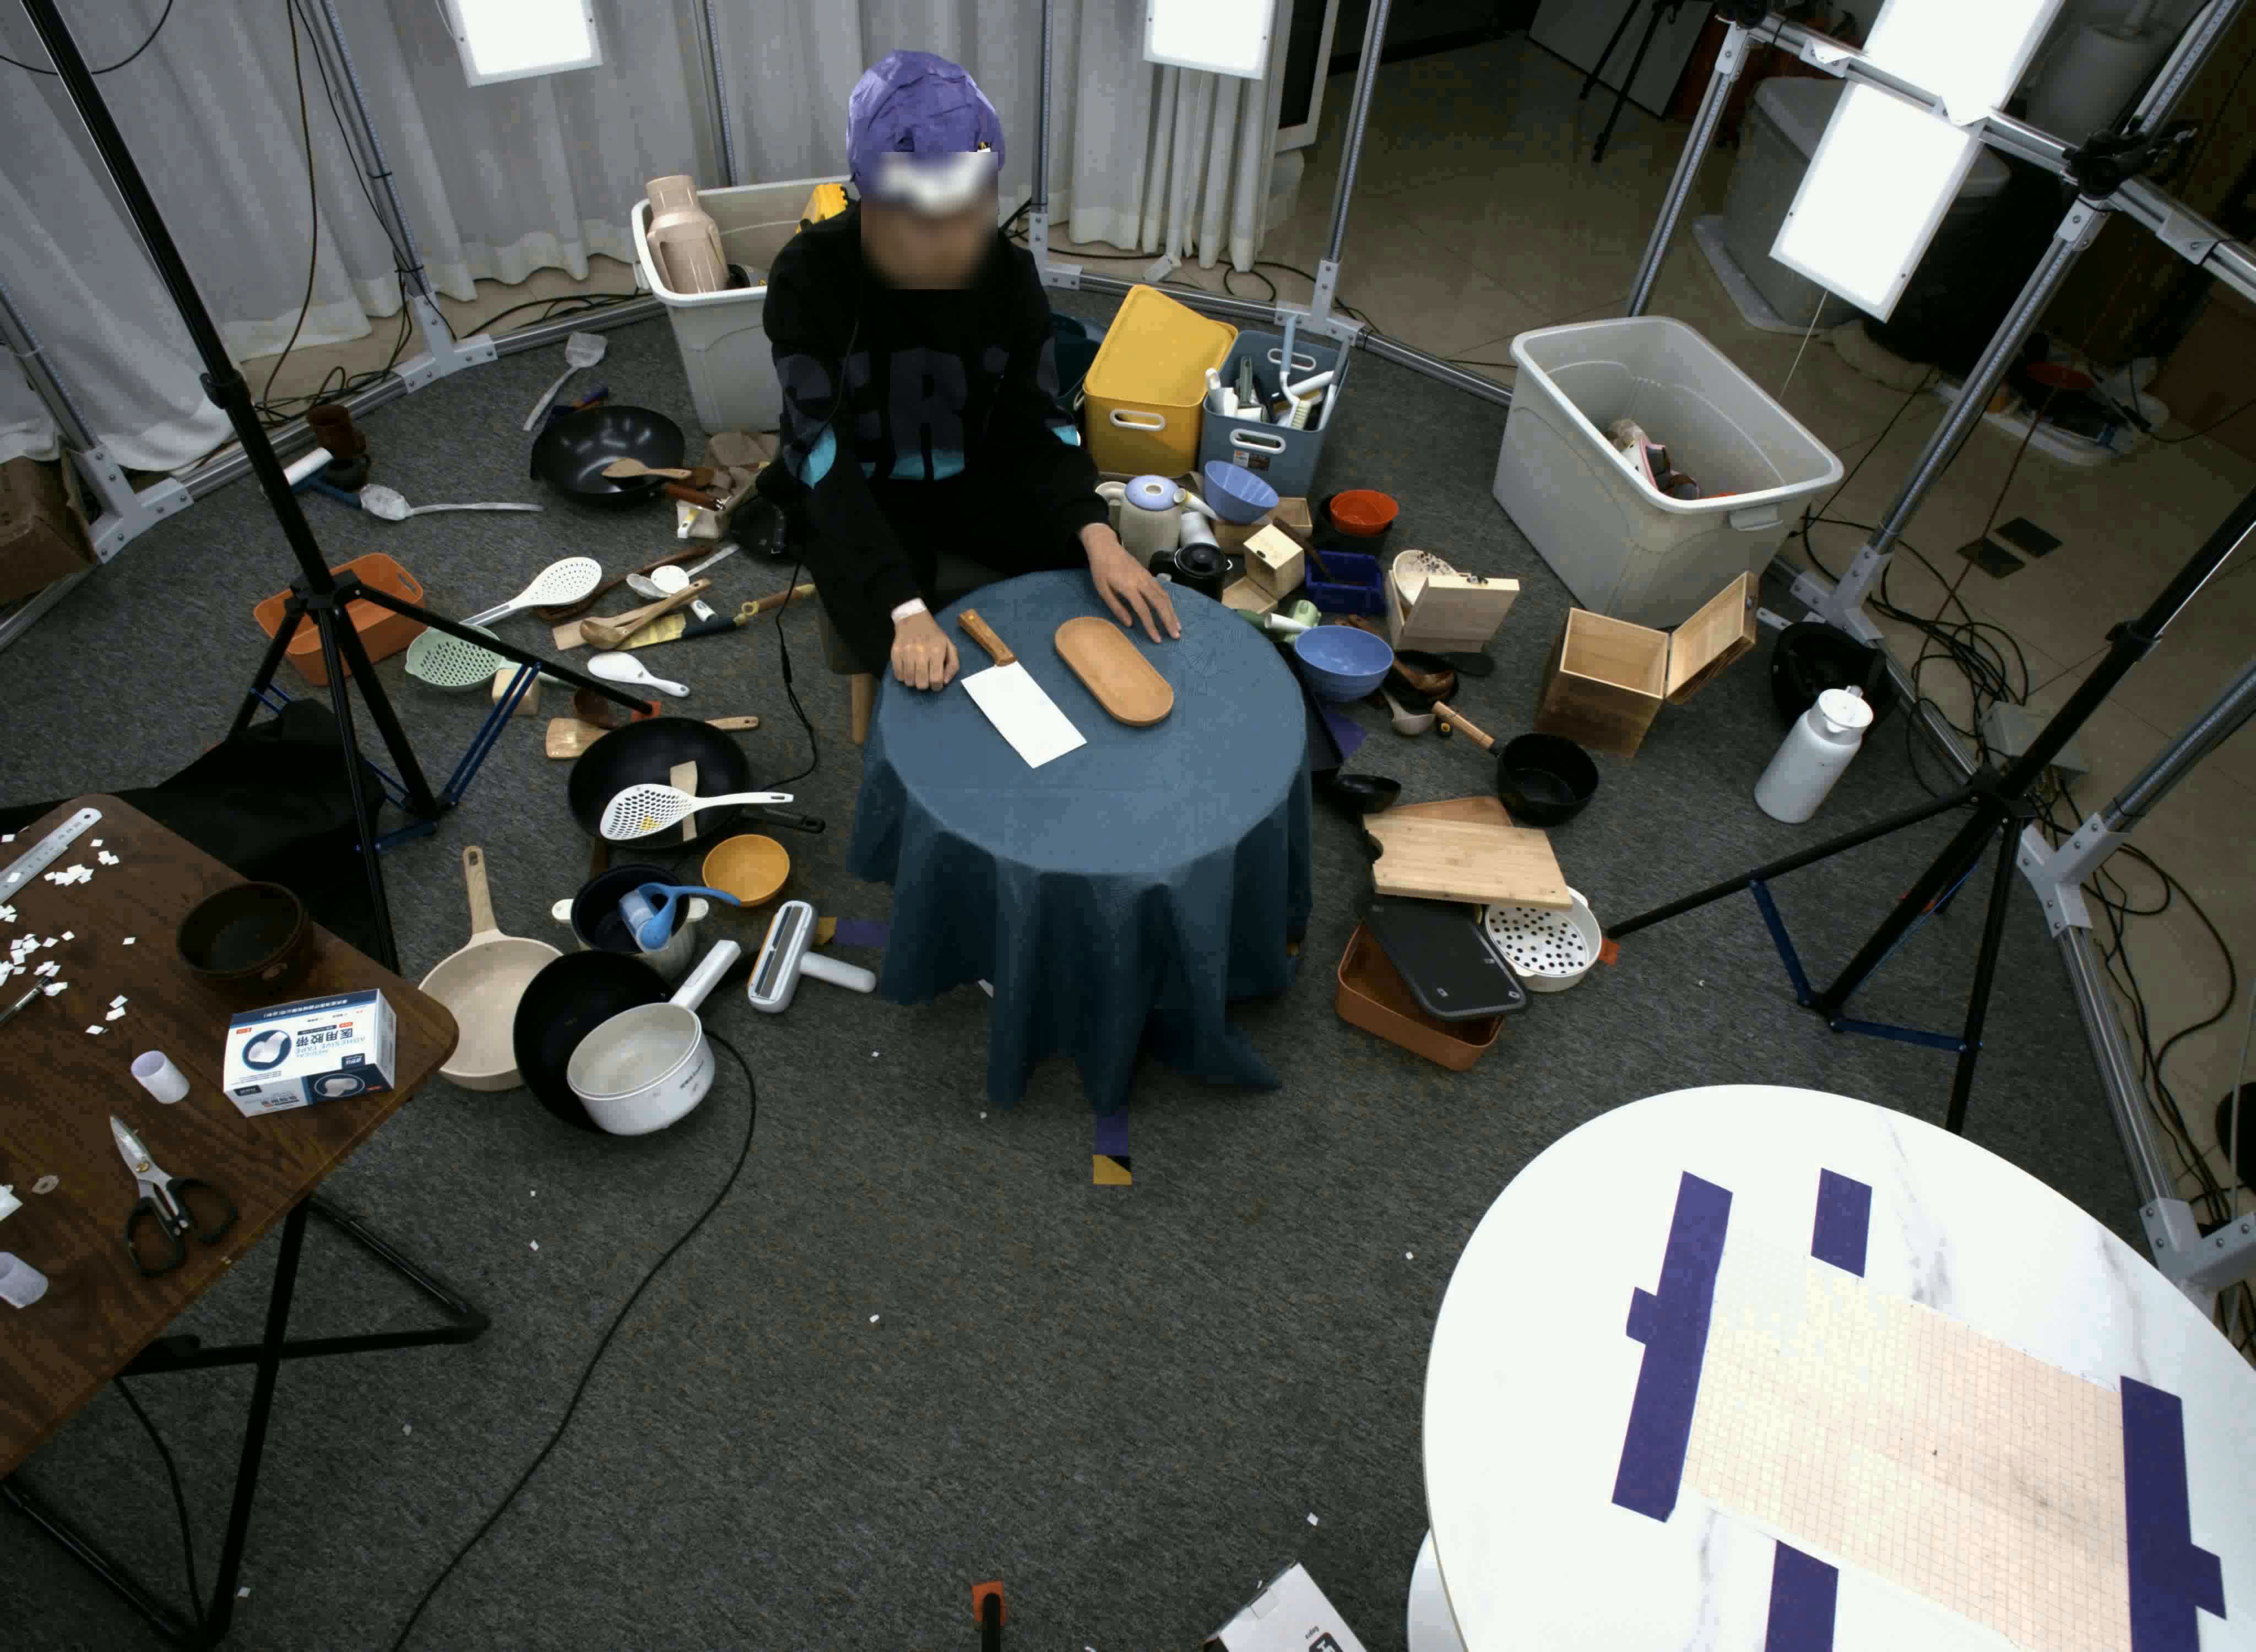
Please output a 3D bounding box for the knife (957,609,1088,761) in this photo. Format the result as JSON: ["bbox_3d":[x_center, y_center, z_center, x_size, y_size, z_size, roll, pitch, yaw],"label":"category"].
[{"bbox_3d":[-0.174,-0.200,1.821,0.093,0.020,0.311,-27,58,-22],"label":"knife"}]

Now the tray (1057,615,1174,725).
[{"bbox_3d":[-0.019,-0.227,1.853,0.102,0.020,0.236,-23,53,-23],"label":"tray"}]
